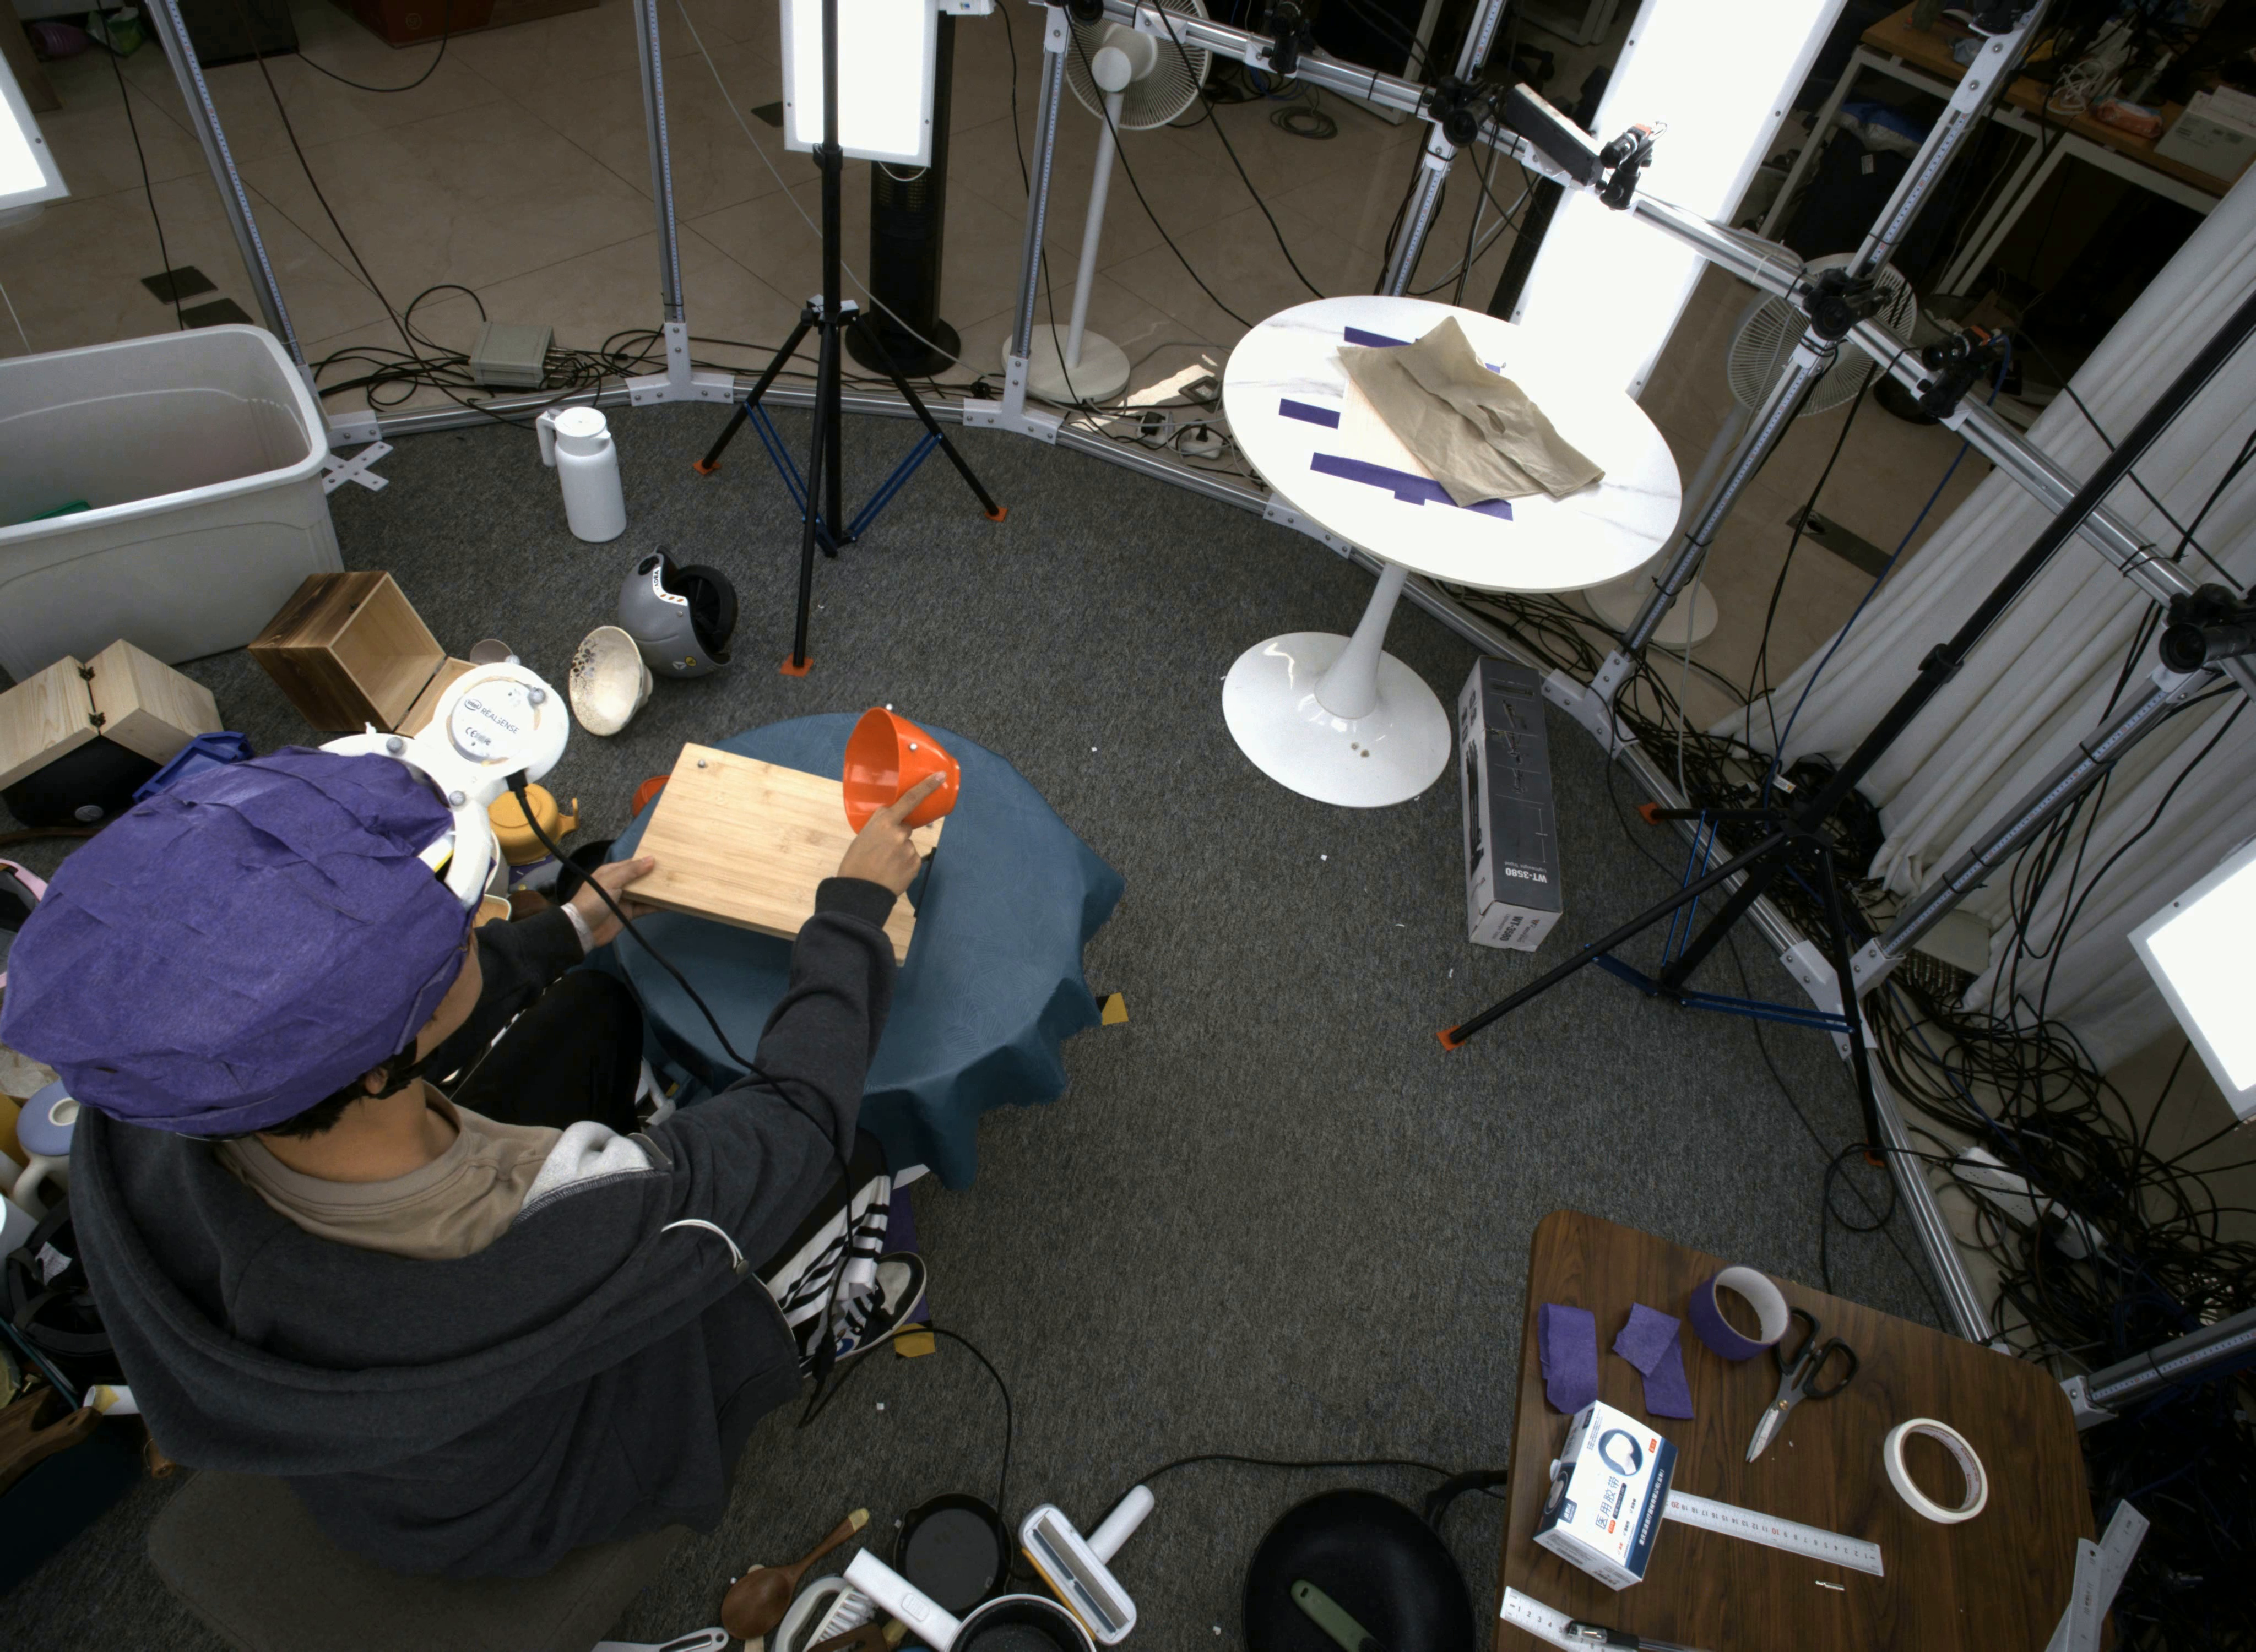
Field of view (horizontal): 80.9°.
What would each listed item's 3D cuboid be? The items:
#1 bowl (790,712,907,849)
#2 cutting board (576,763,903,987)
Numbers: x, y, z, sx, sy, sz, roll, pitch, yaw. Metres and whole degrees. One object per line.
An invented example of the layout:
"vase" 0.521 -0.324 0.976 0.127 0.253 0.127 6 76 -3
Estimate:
"bowl" -0.308 -0.047 1.444 0.106 0.149 0.144 6 49 -29
"cutting board" -0.462 0.053 1.559 0.349 0.024 0.246 12 51 -12
